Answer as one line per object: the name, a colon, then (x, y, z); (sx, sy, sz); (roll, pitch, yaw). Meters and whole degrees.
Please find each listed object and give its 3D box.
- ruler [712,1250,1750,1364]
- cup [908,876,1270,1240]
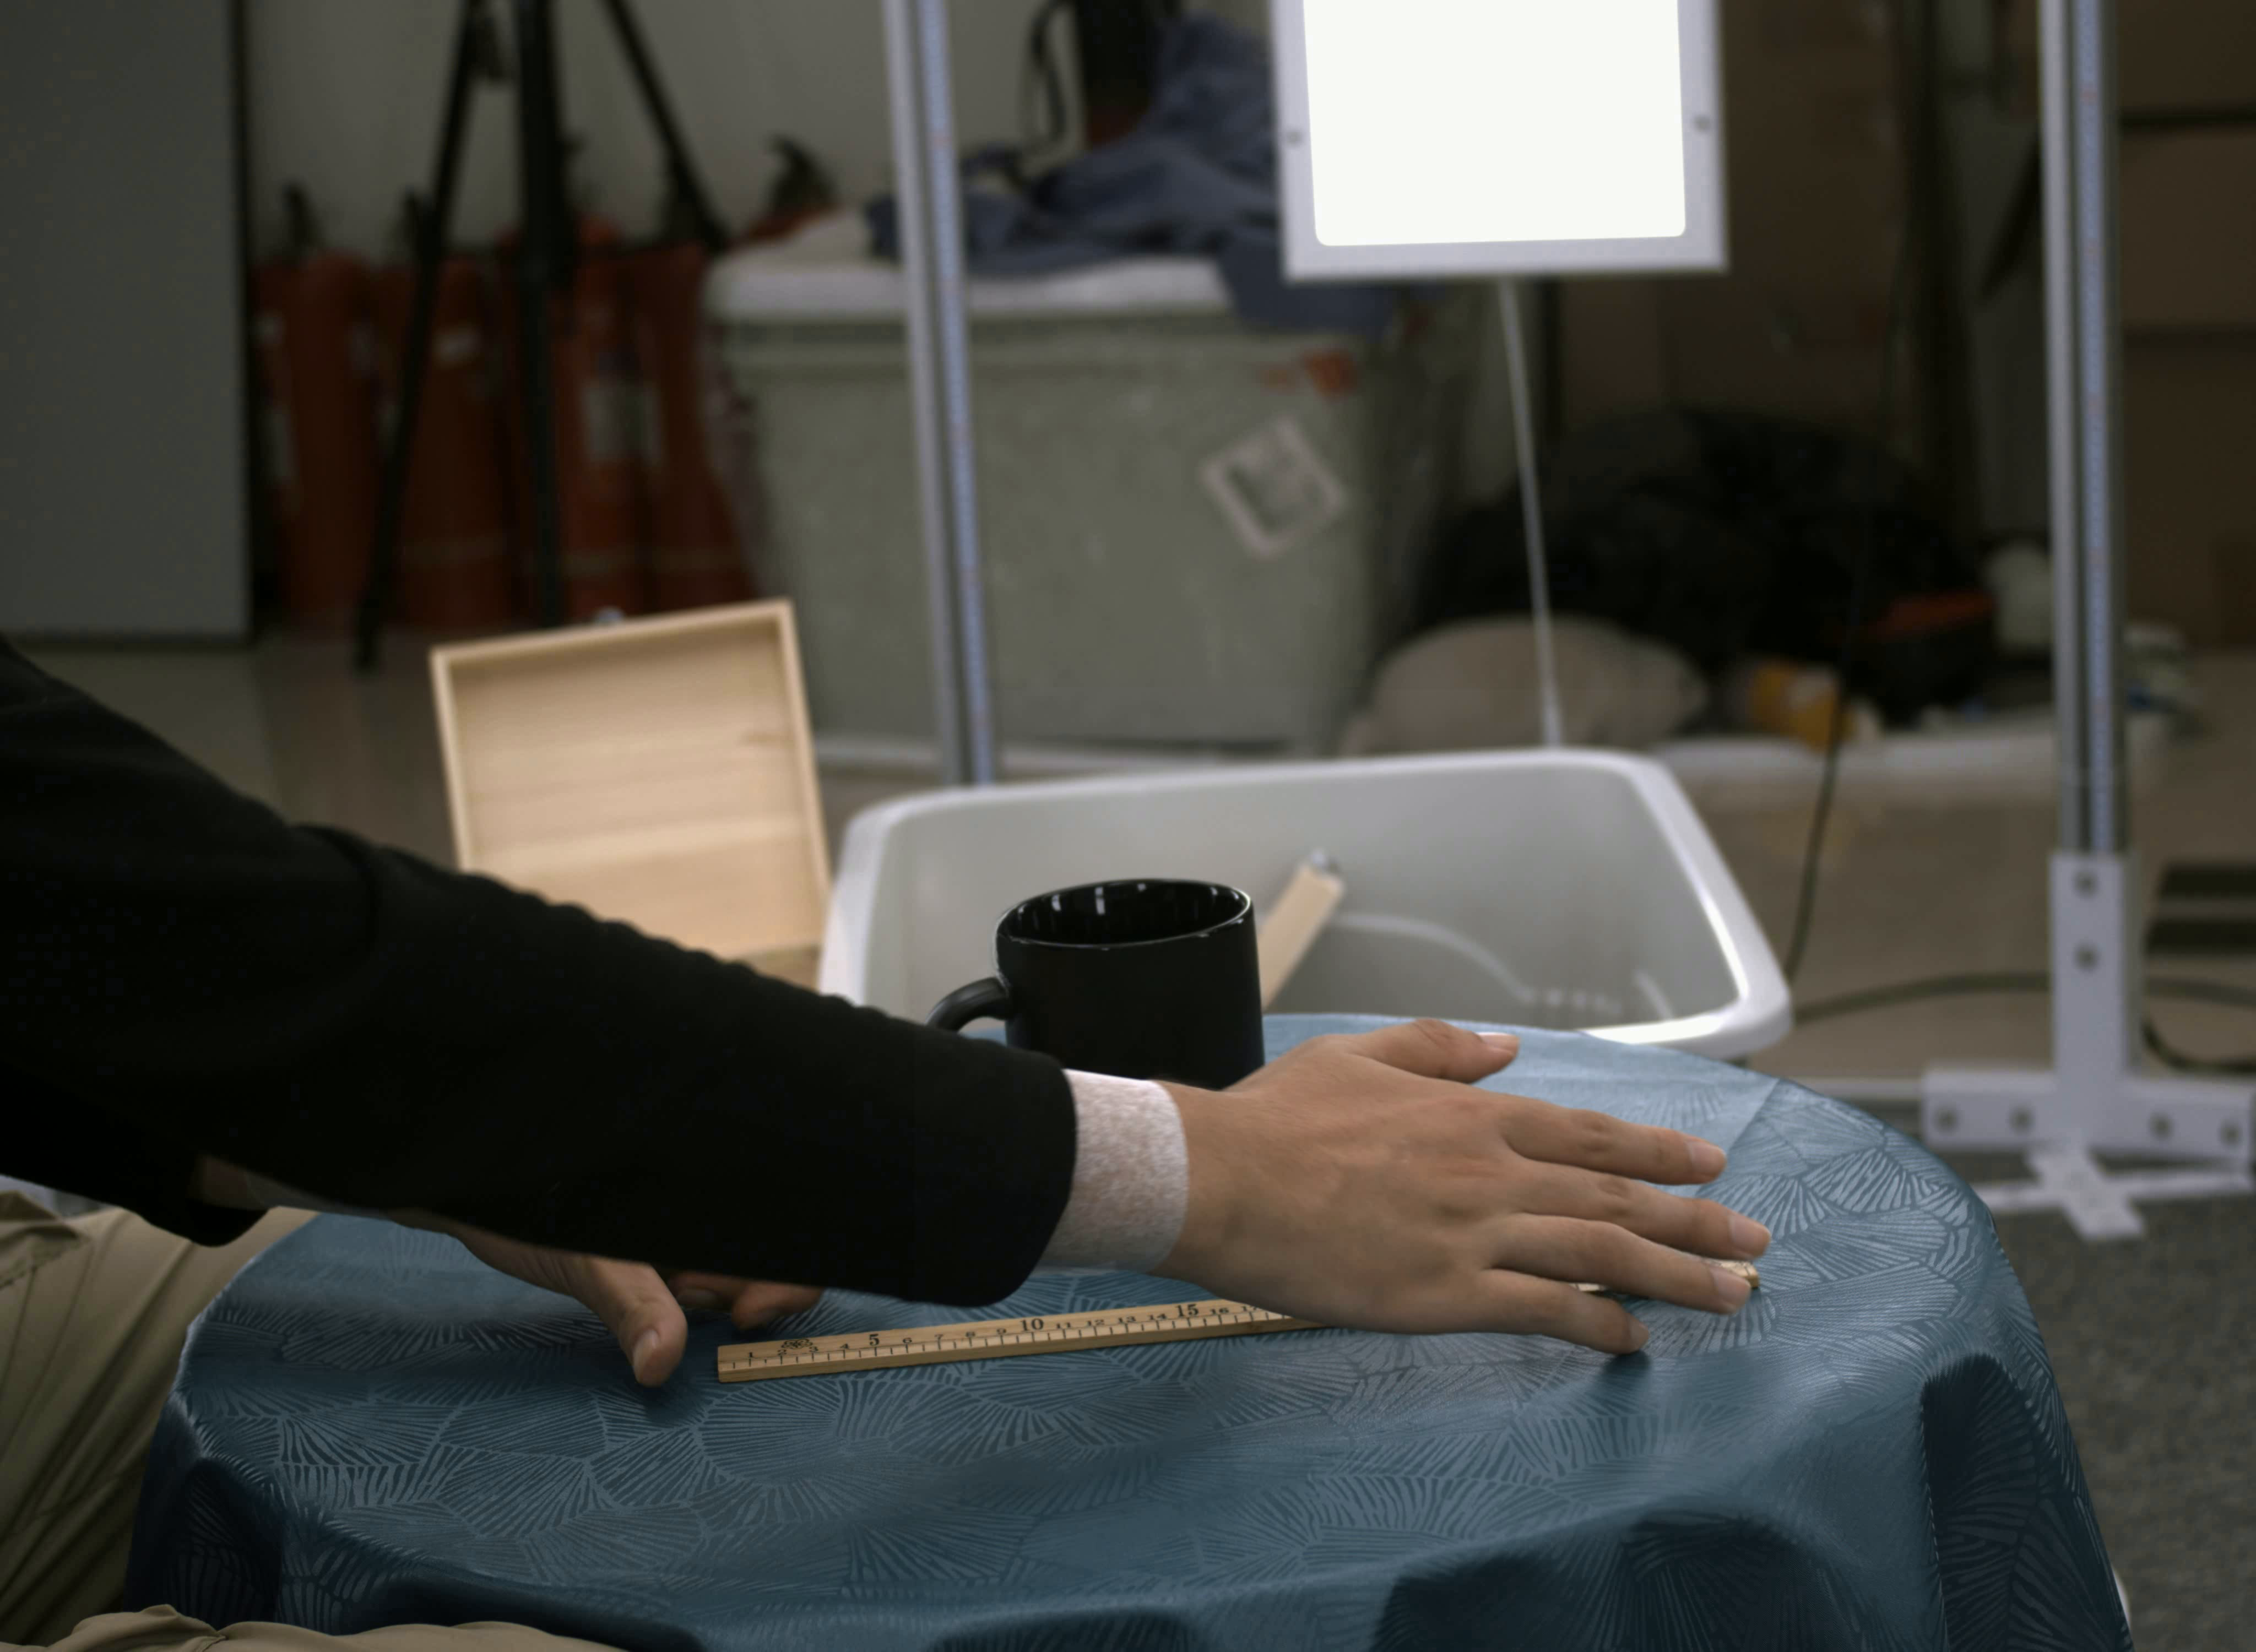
ruler: (0.033, 0.152, 1.755); (0.331, 0.022, 0.027); (-4, 10, 2)
cup: (-0.014, 0.081, 1.876); (0.122, 0.105, 0.089); (-8, 16, -10)
